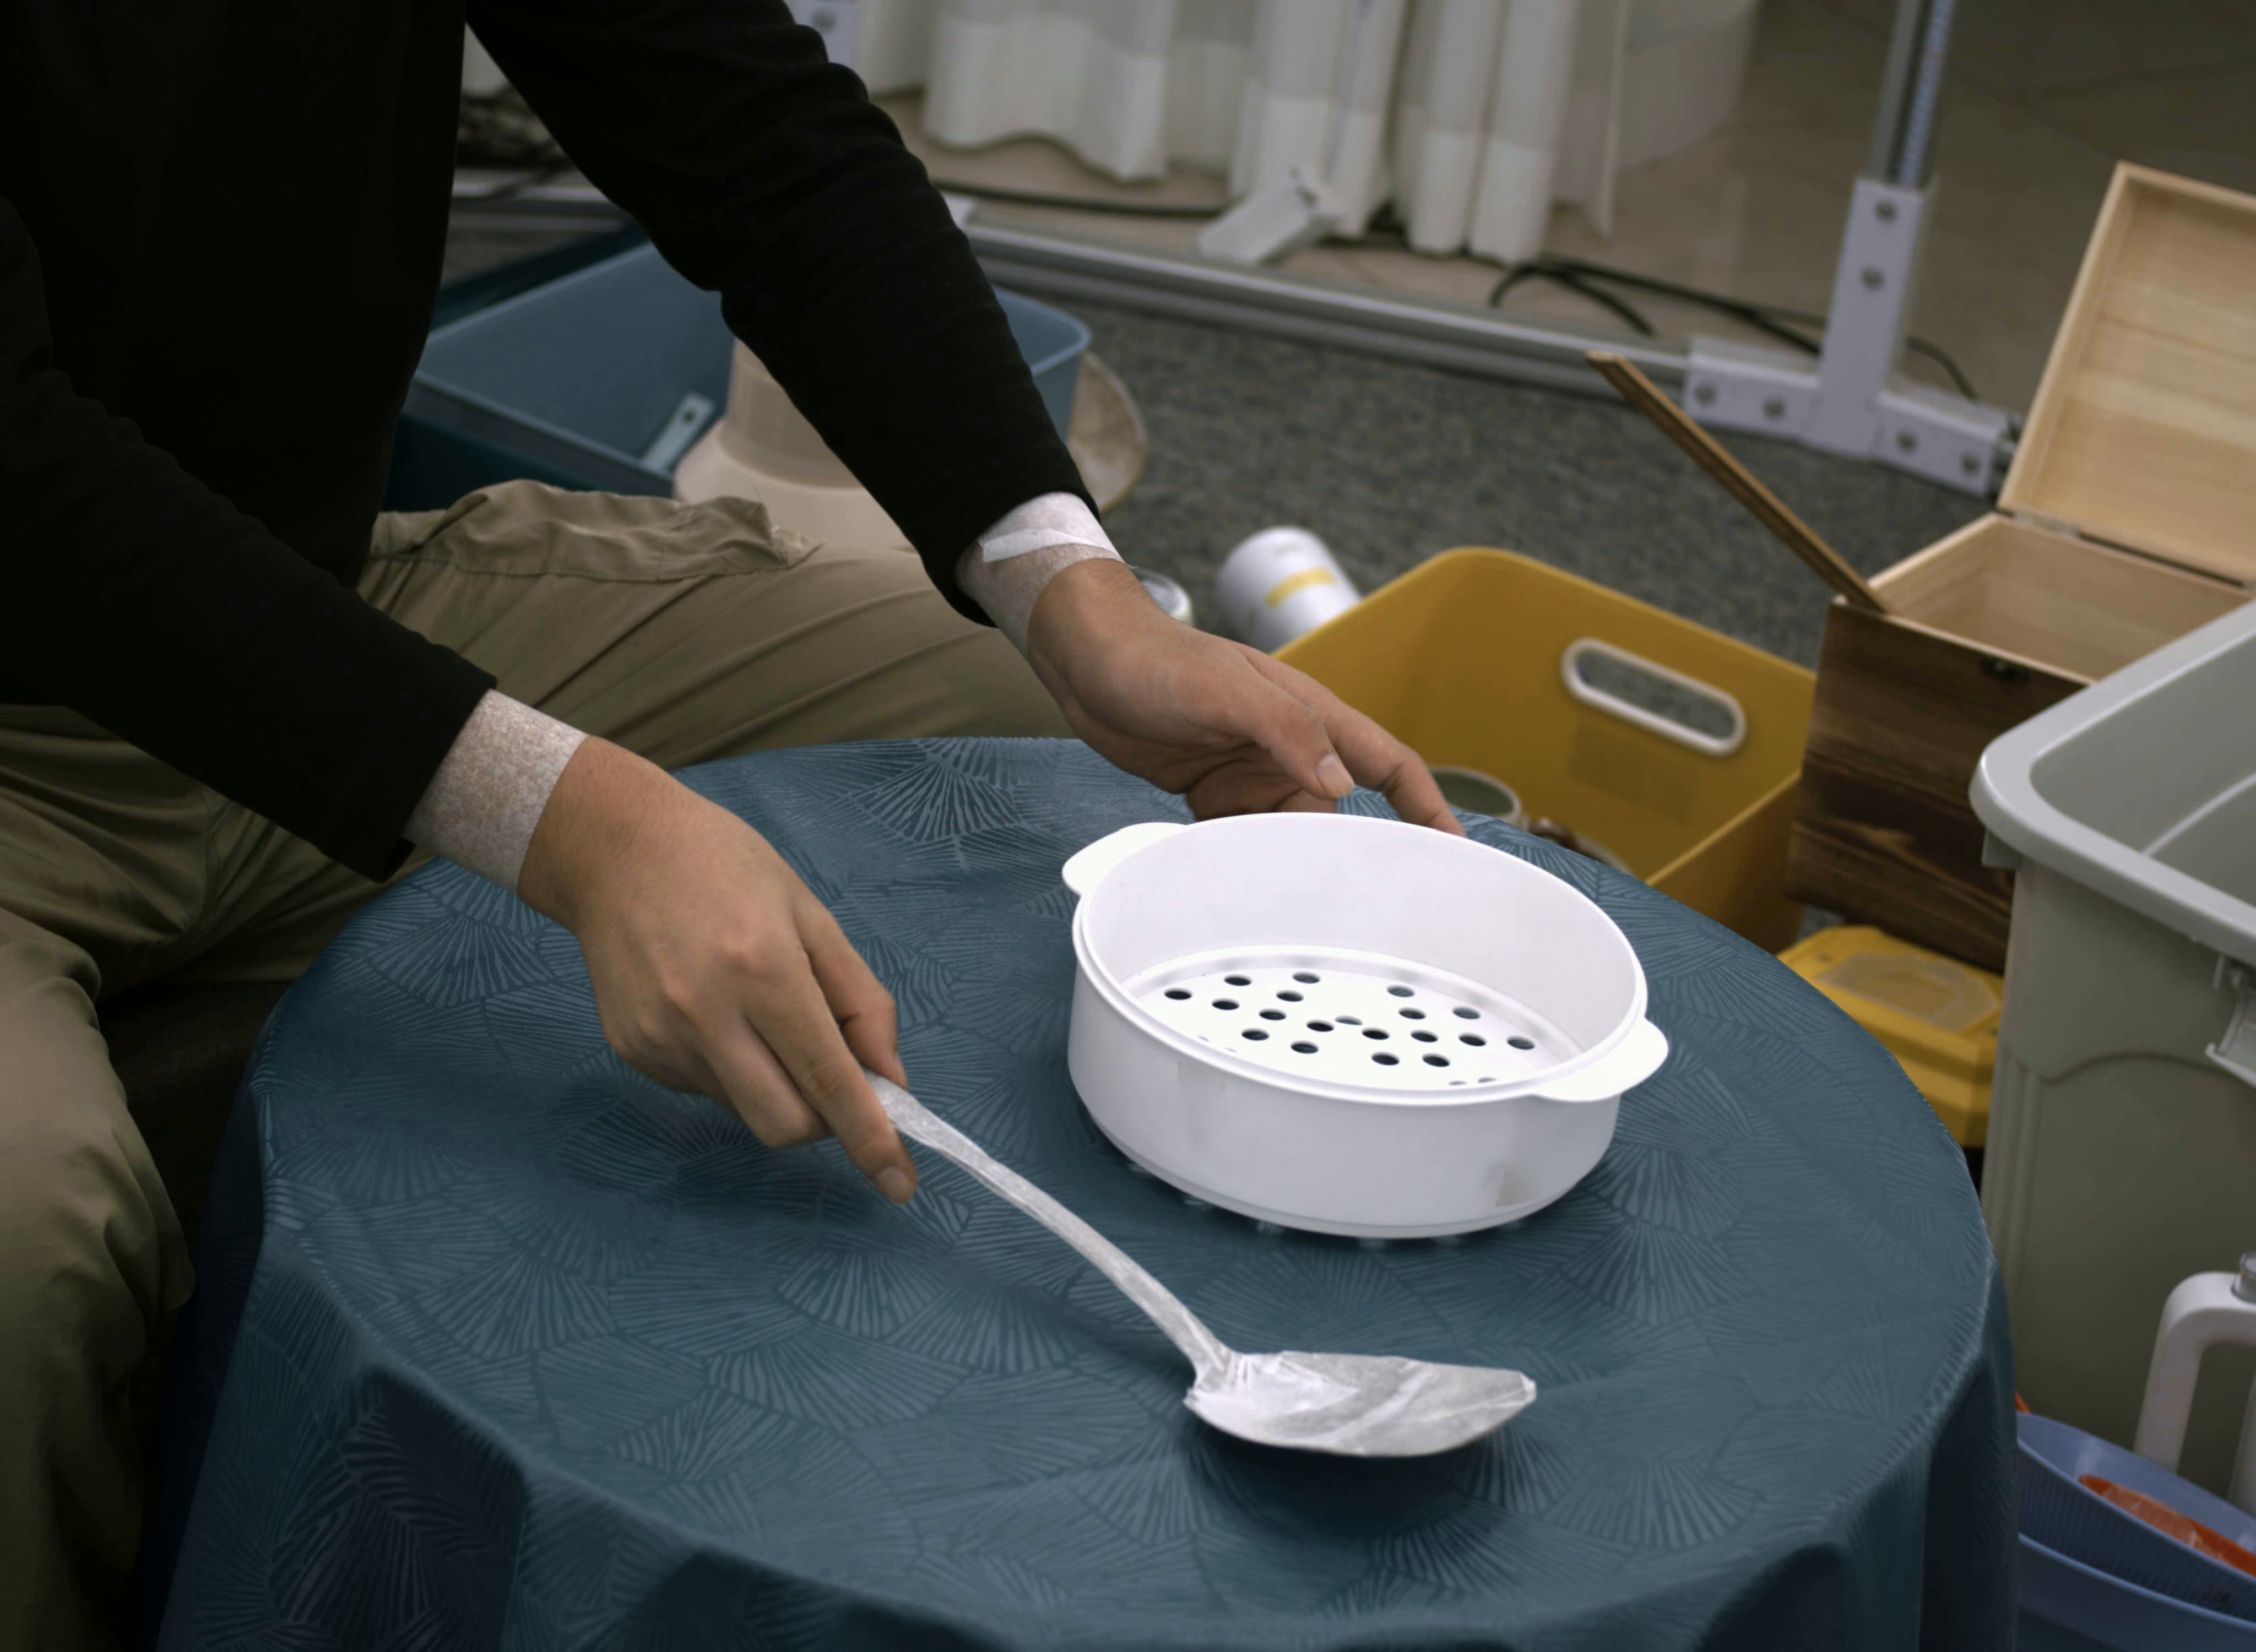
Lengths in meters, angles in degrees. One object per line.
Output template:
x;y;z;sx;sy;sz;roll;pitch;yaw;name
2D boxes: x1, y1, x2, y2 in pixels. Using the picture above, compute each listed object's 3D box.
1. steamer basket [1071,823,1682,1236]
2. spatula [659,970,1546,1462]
0.081;0.071;1.847;0.232;0.069;0.201;22;30;30;steamer basket
-0.027;0.119;1.734;0.367;0.044;0.098;33;30;29;spatula
